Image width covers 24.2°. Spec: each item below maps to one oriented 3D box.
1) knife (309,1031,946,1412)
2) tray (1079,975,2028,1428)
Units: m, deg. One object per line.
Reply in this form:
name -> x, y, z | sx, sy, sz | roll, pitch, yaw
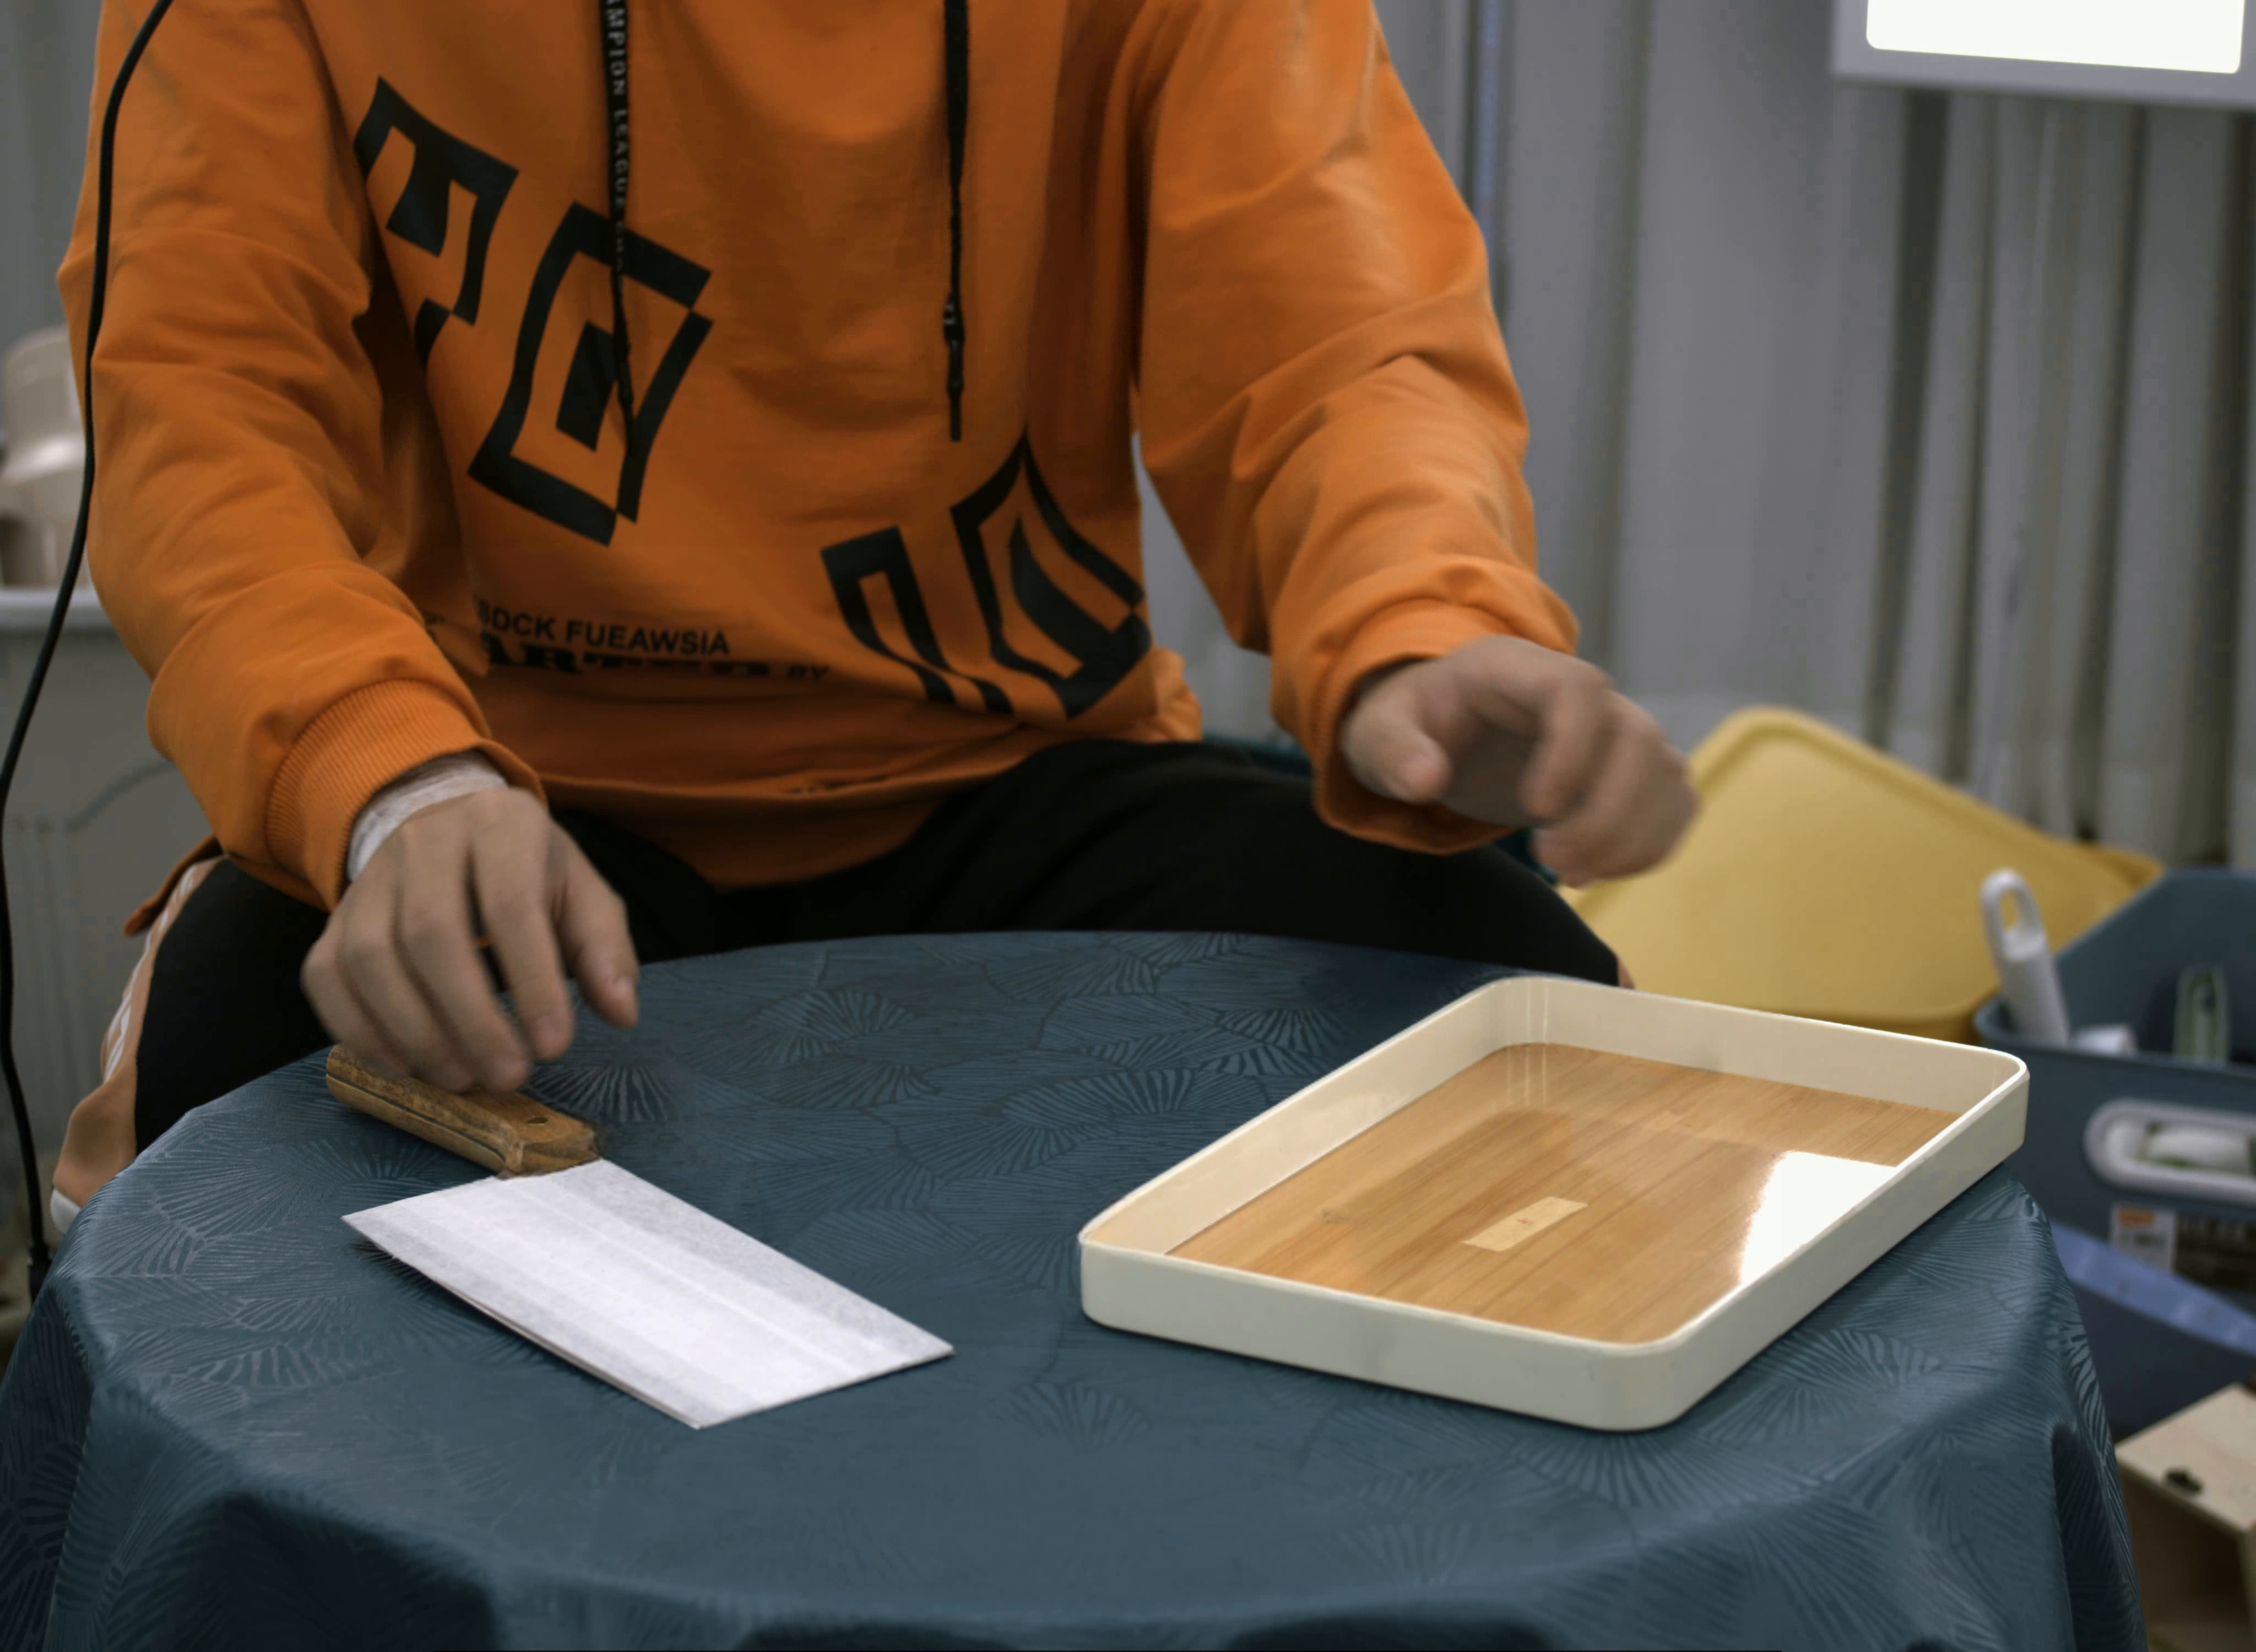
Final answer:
knife -> -0.176, 0.118, 1.570 | 0.093, 0.021, 0.301 | -14, 23, -37
tray -> 0.135, 0.108, 1.592 | 0.189, 0.027, 0.301 | 9, 18, 28
